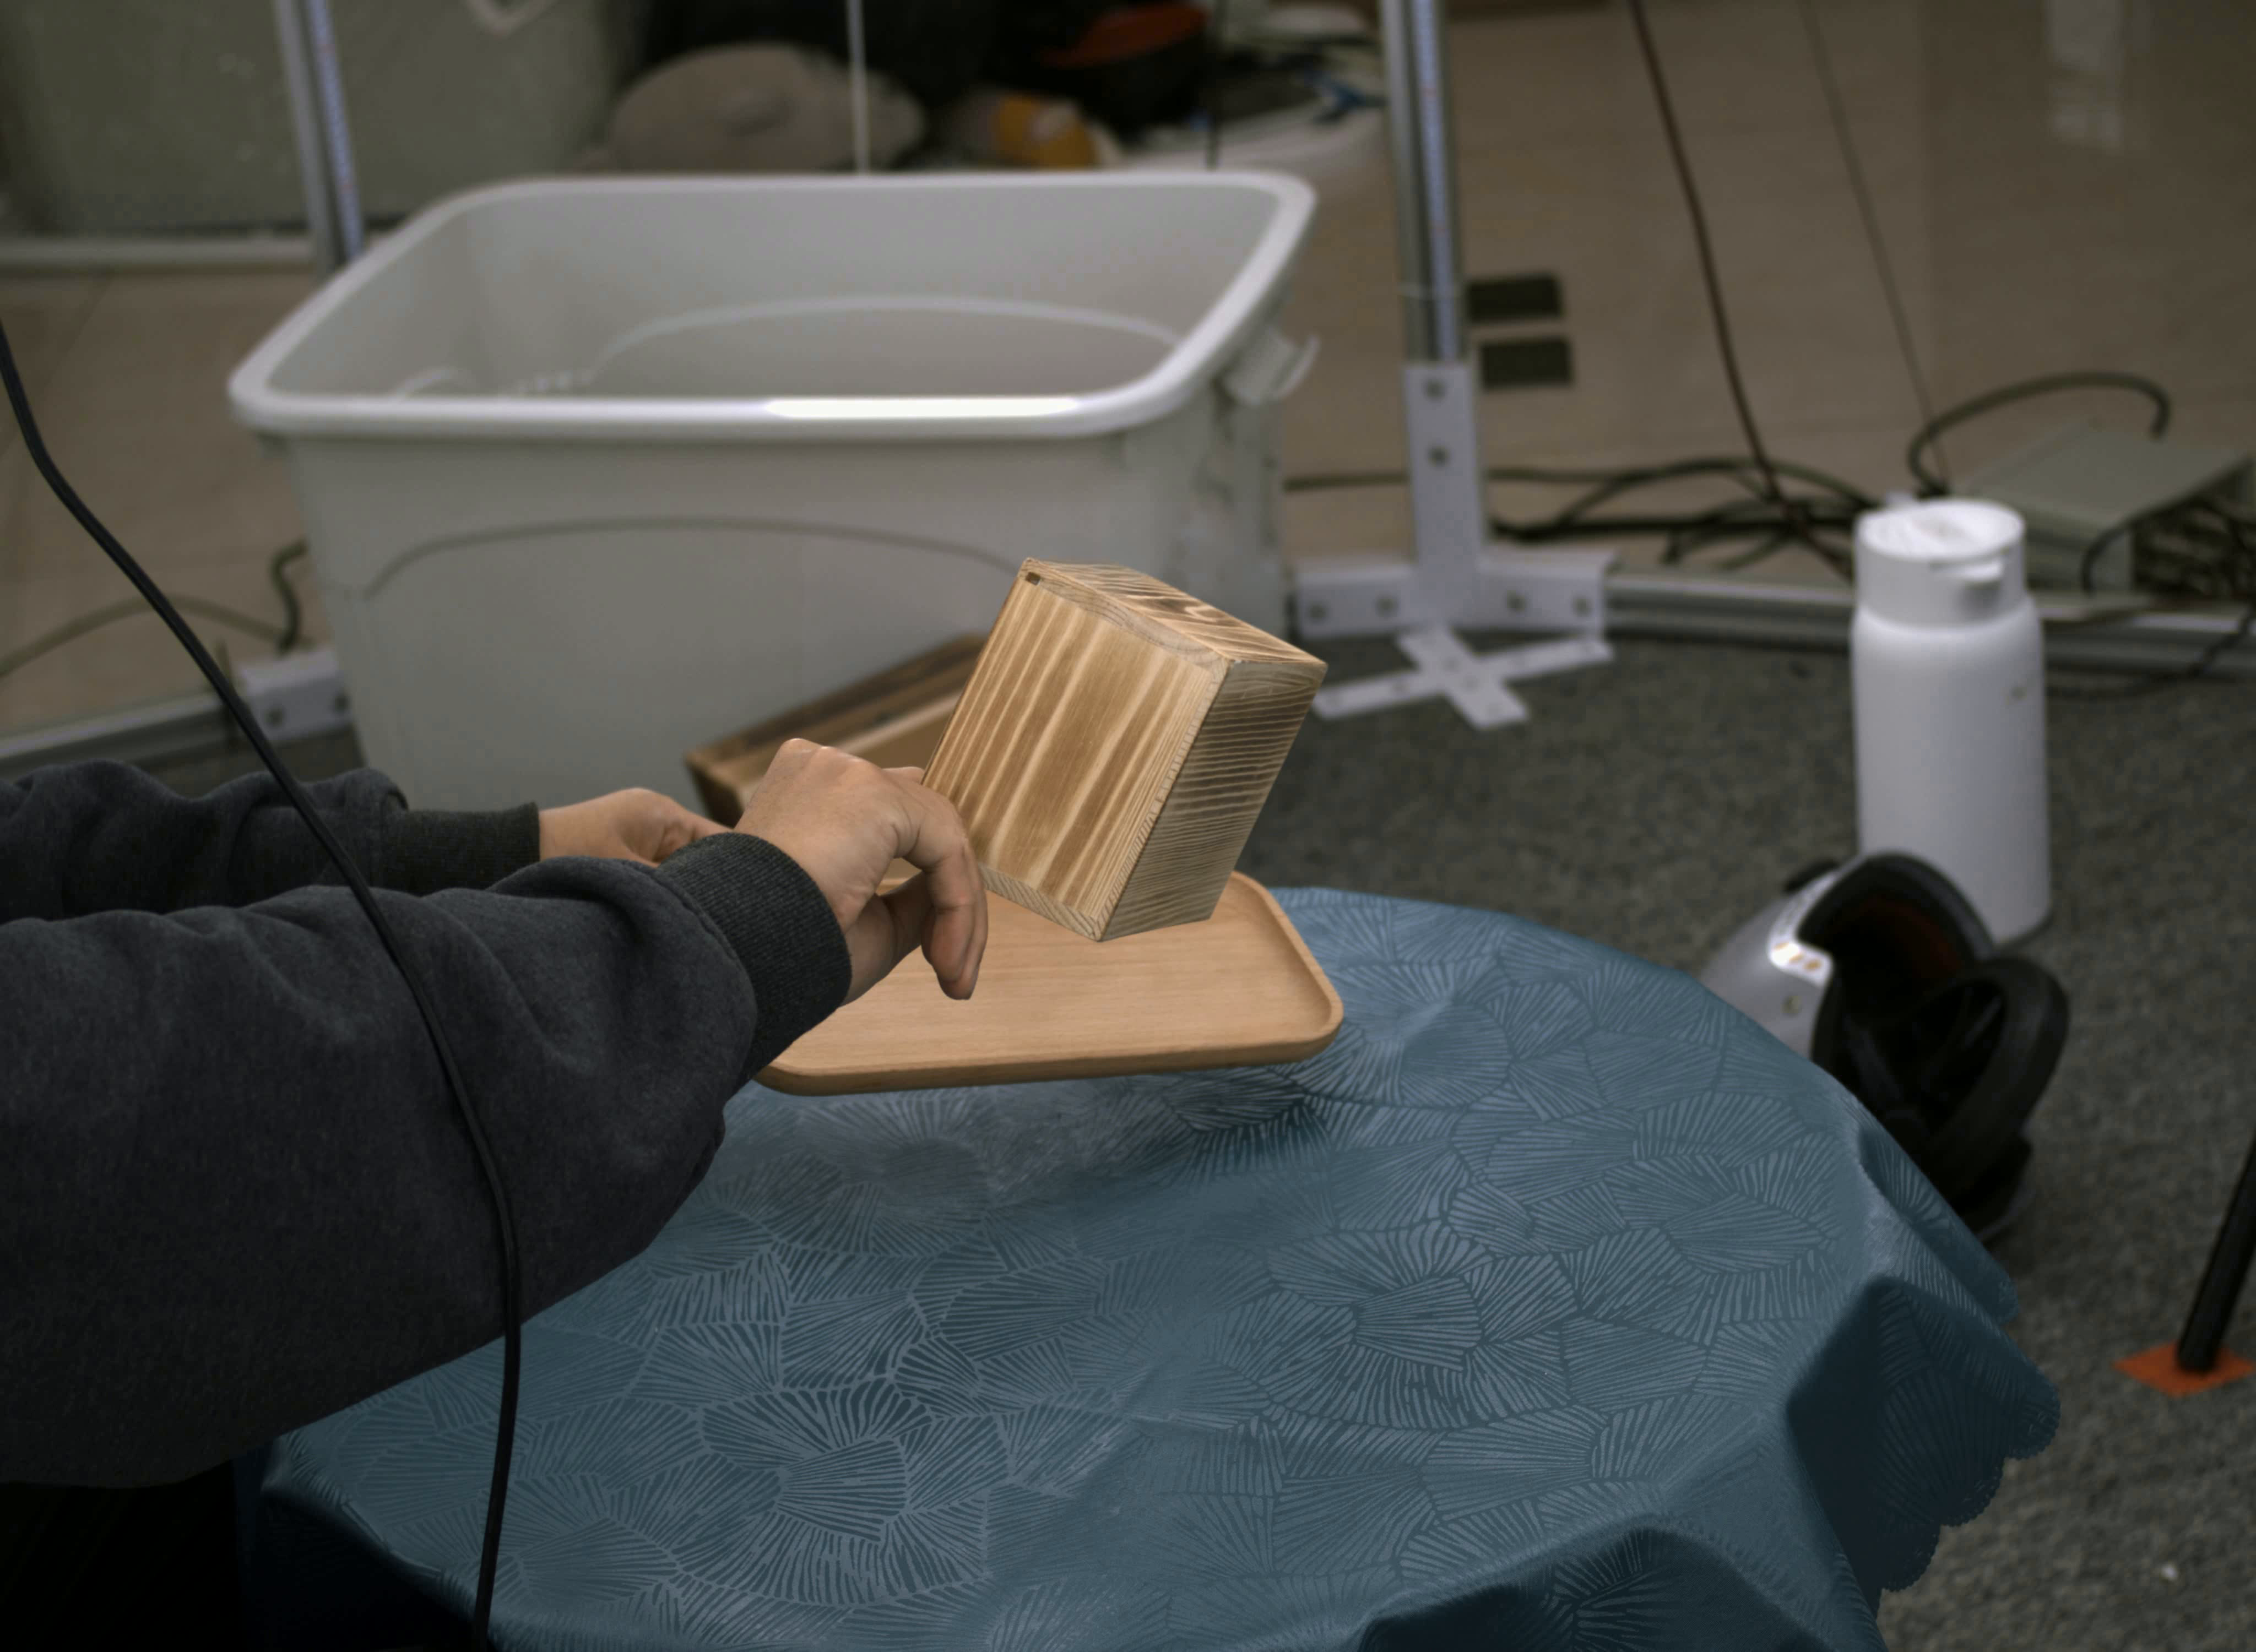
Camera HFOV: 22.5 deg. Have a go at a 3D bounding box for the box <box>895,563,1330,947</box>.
[{"bbox_3d":[-0.002,-0.027,1.985,0.080,0.108,0.211,26,7,9],"label":"box"}]

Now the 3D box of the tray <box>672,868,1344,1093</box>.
[{"bbox_3d":[-0.046,0.058,2.183,0.250,0.023,0.128,-3,32,-22],"label":"tray"}]
